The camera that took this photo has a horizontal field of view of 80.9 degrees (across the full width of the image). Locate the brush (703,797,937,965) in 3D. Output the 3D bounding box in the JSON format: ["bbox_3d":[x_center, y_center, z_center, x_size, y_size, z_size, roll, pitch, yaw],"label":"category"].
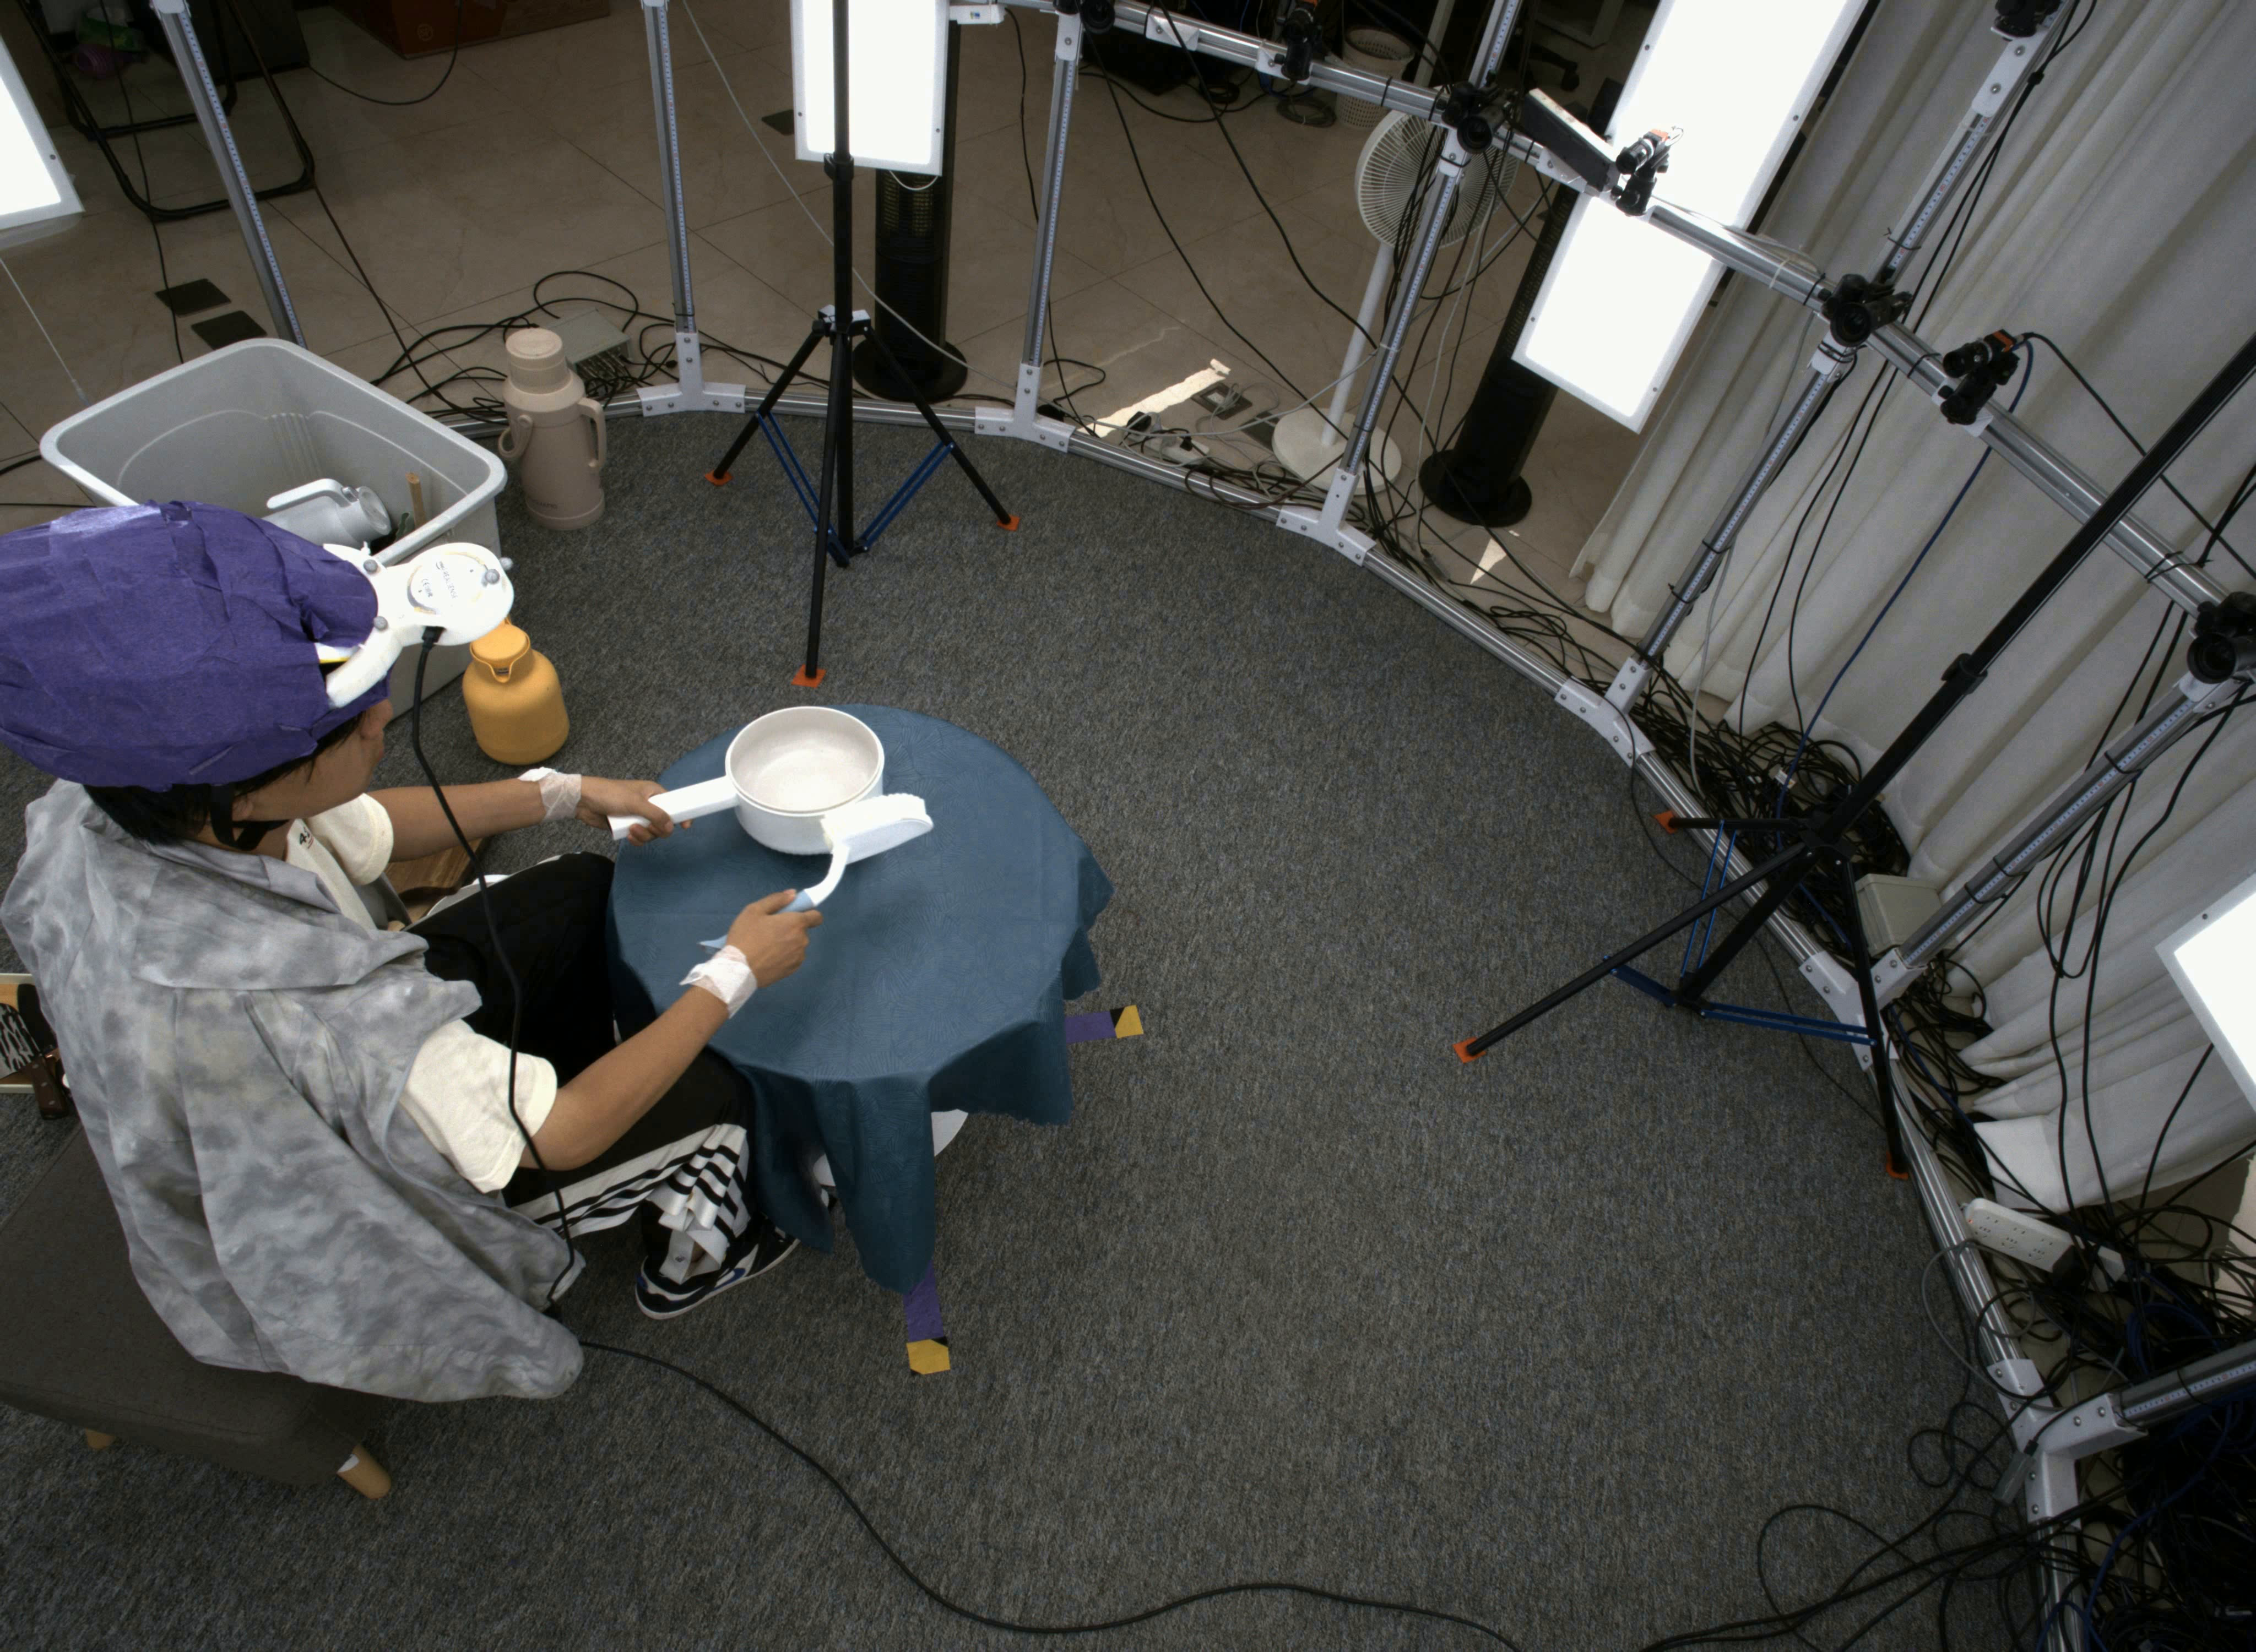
[{"bbox_3d":[-0.376,0.047,1.541,0.326,0.086,0.081,-32,31,-28],"label":"brush"}]

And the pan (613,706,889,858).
[{"bbox_3d":[-0.478,-0.029,1.664,0.356,0.105,0.195,-20,55,-25],"label":"pan"}]
